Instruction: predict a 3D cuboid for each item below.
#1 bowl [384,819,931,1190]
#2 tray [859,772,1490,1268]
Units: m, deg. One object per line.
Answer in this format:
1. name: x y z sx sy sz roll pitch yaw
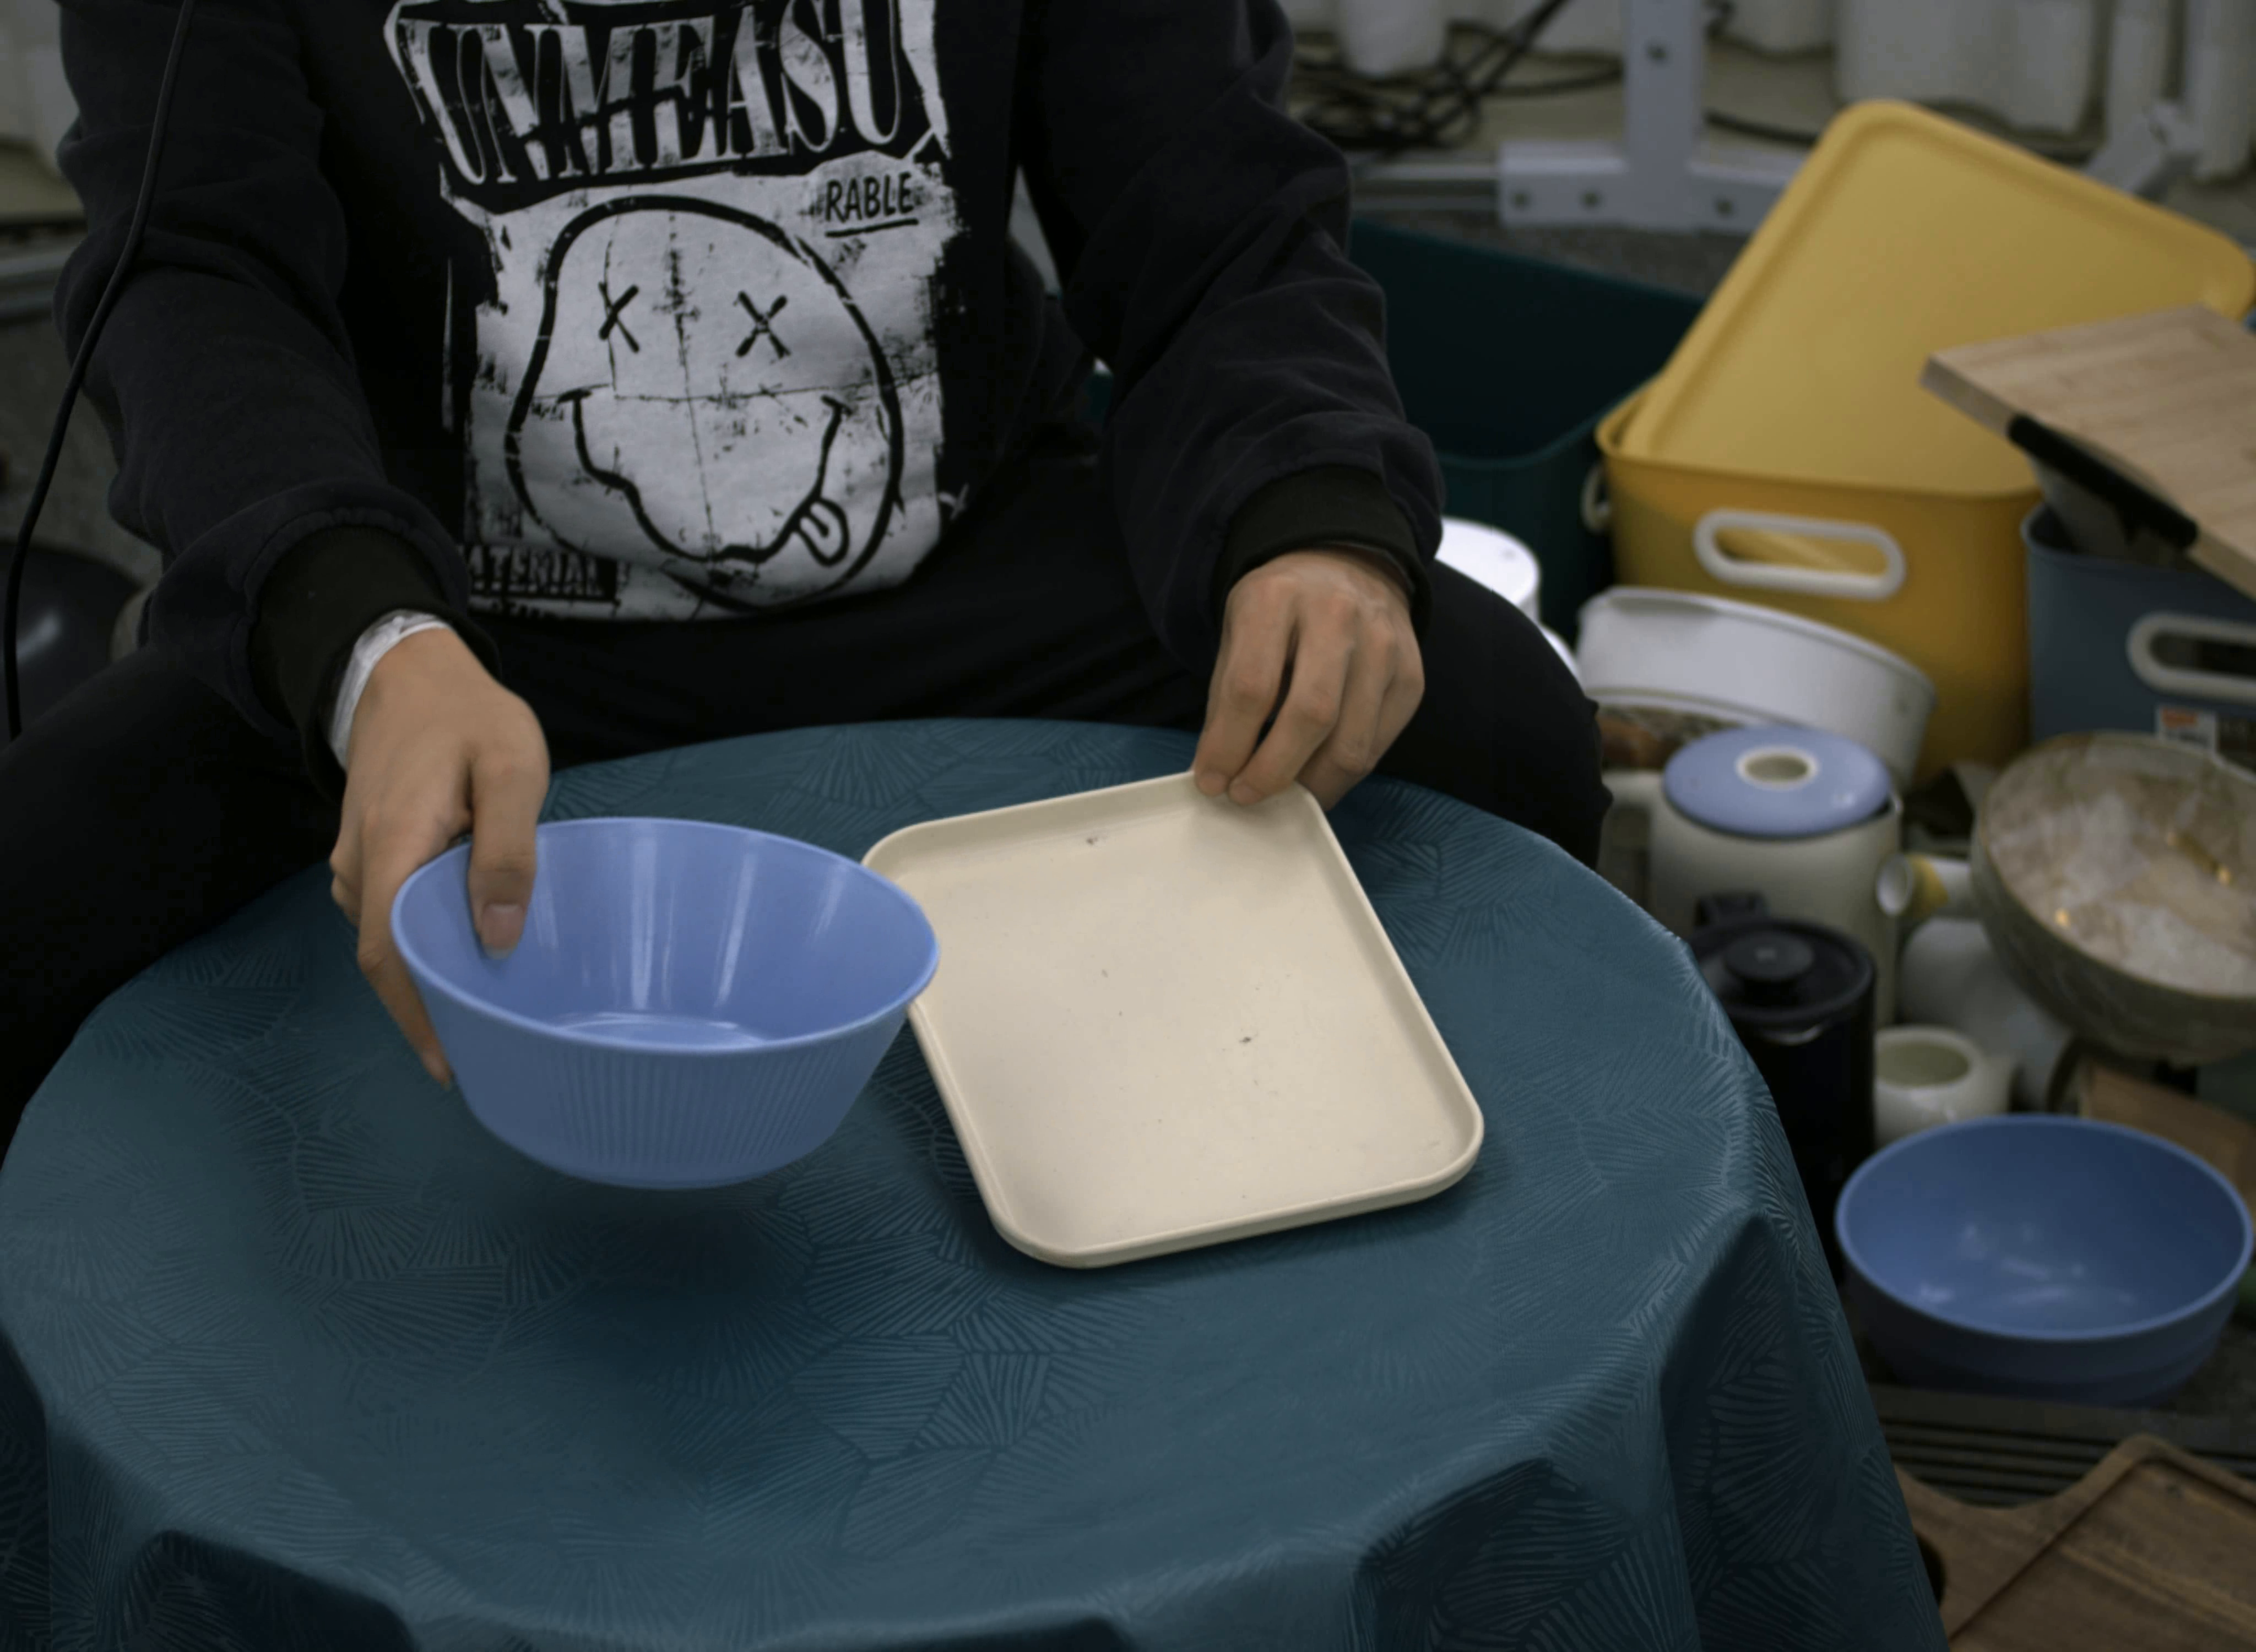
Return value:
1. bowl: -0.153 0.062 1.808 0.175 0.069 0.178 6 23 -2
2. tray: 0.013 0.064 1.915 0.171 0.017 0.243 -9 37 -13
